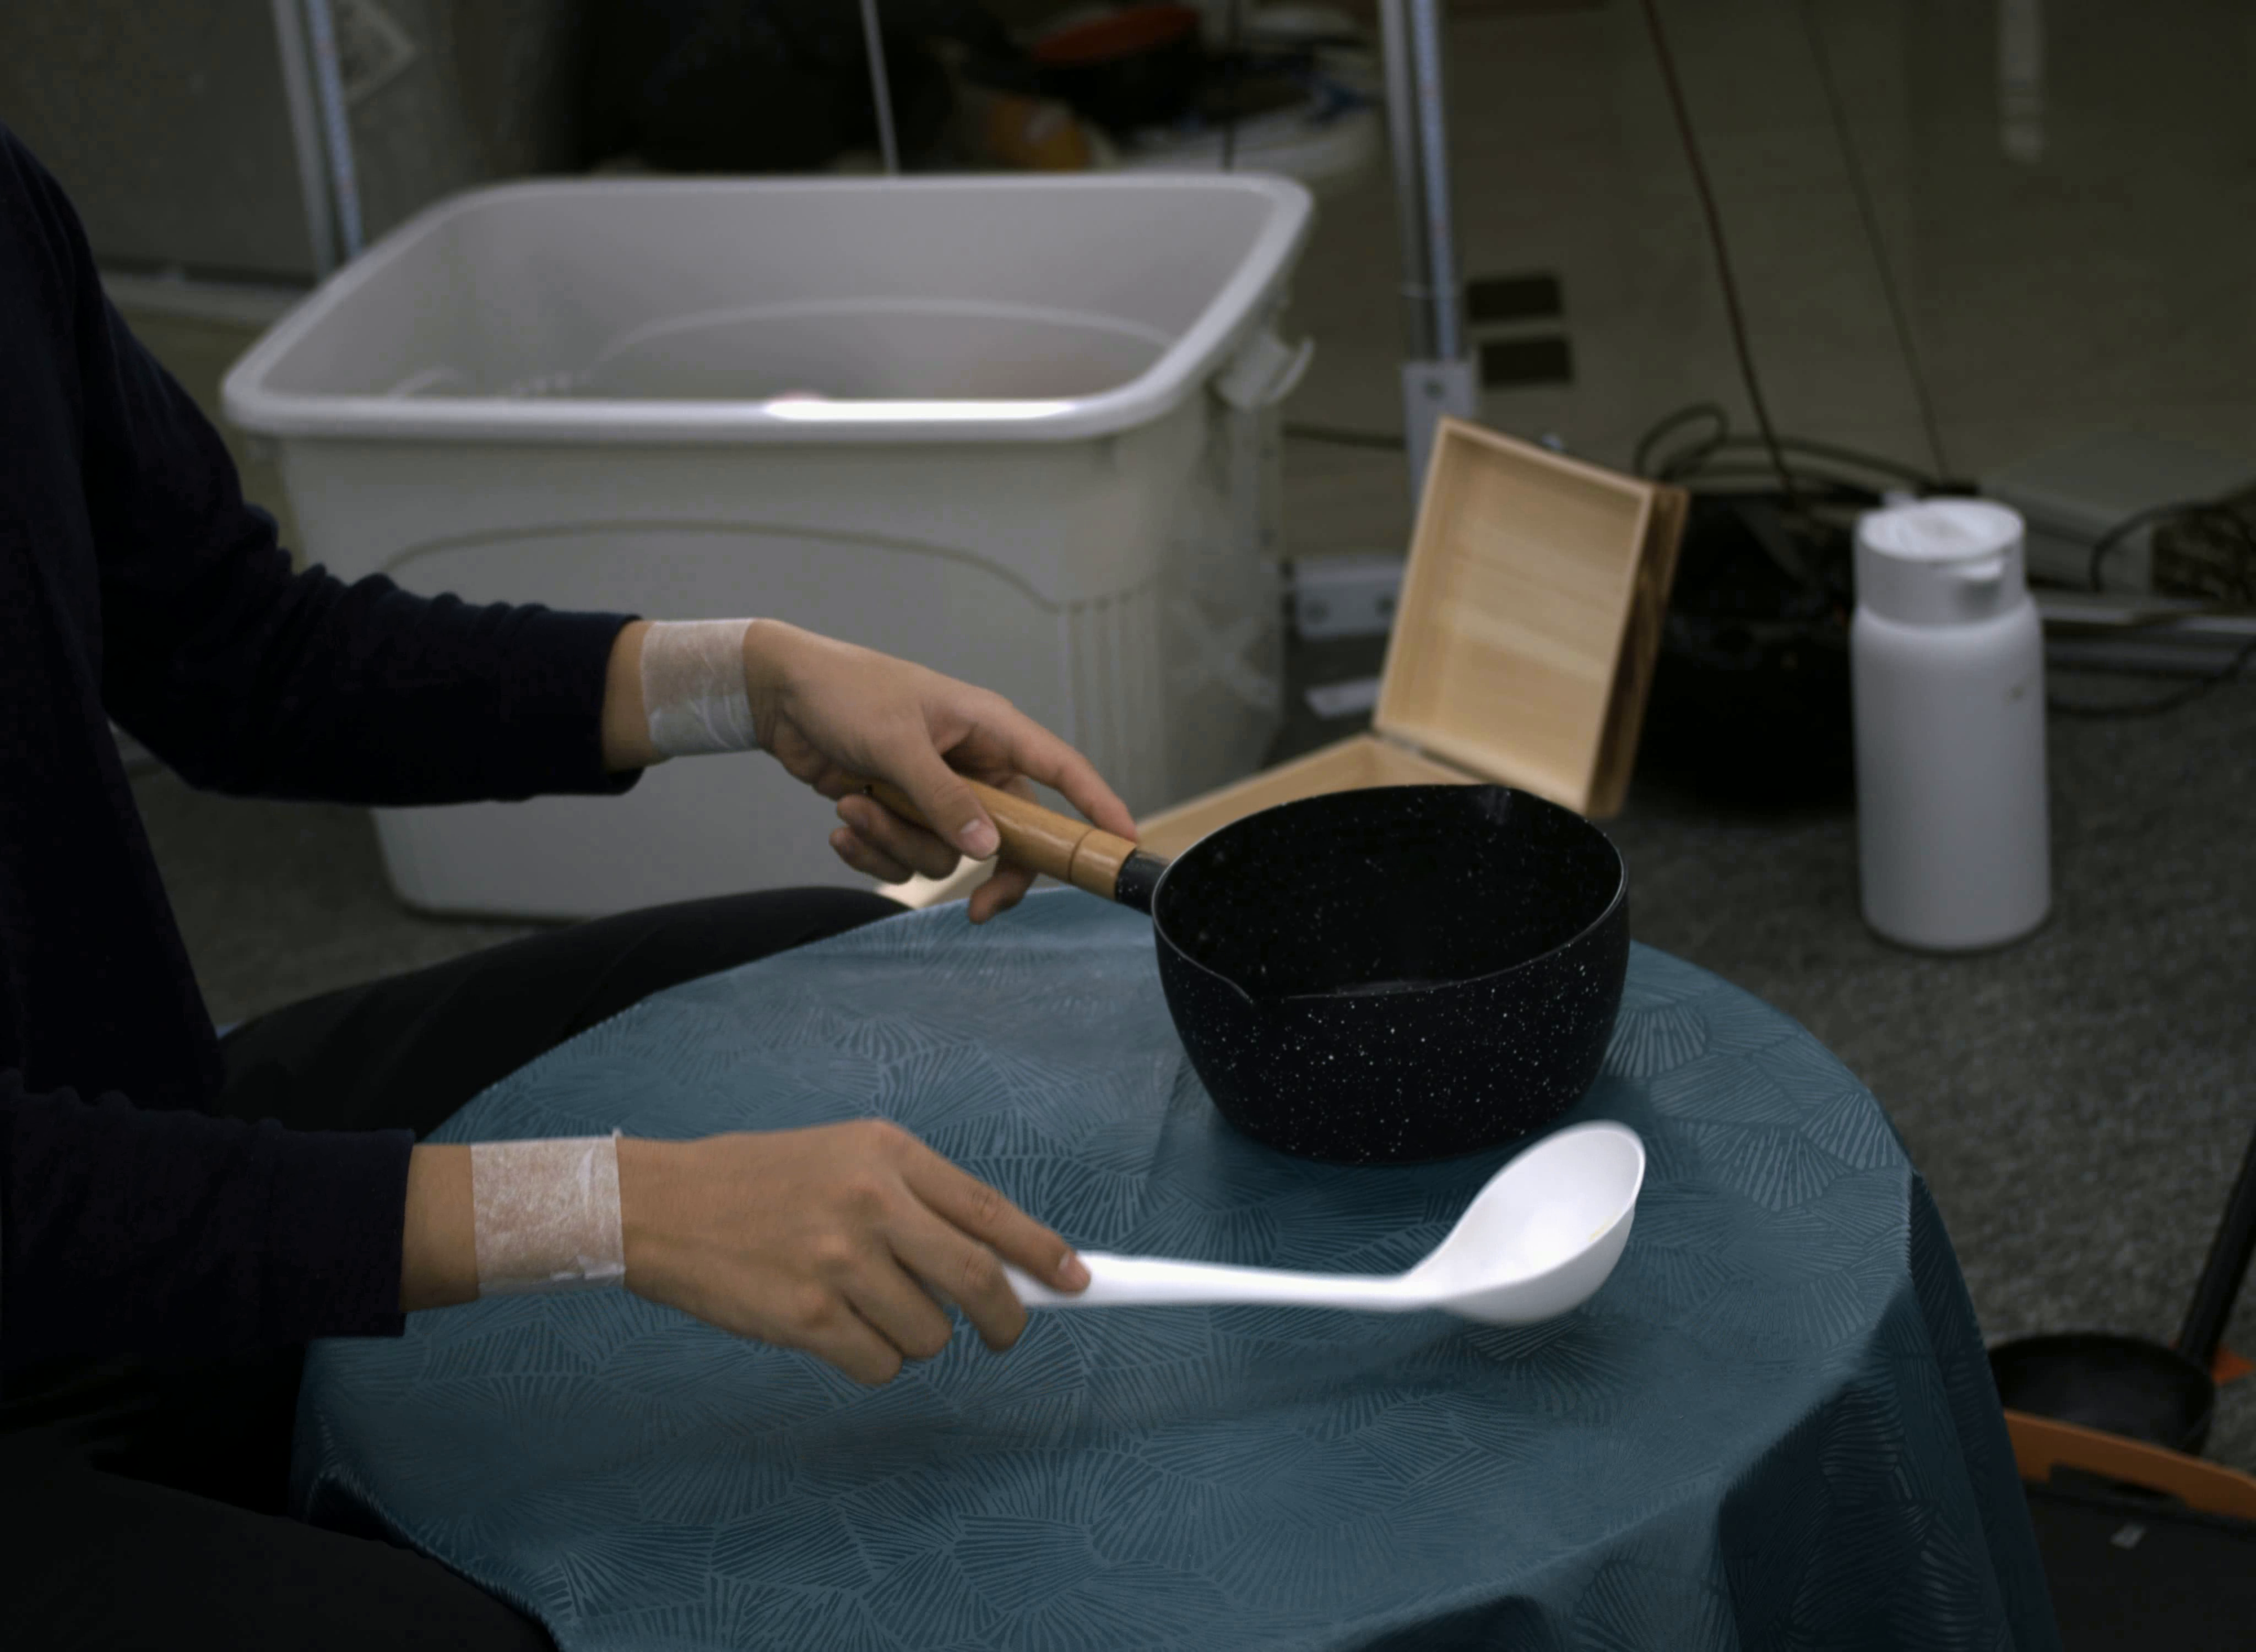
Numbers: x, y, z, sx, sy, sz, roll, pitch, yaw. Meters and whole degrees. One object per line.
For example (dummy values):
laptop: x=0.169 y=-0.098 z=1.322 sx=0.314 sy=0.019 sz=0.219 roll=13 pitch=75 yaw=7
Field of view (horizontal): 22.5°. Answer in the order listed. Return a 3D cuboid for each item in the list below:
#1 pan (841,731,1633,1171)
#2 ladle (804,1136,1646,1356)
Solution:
pan: x=0.035 y=0.039 z=2.223 sx=0.341 sy=0.110 sz=0.205 roll=10 pitch=31 yaw=29
ladle: x=0.034 y=0.150 z=1.977 sx=0.292 sy=0.071 sz=0.089 roll=0 pitch=27 yaw=-6
